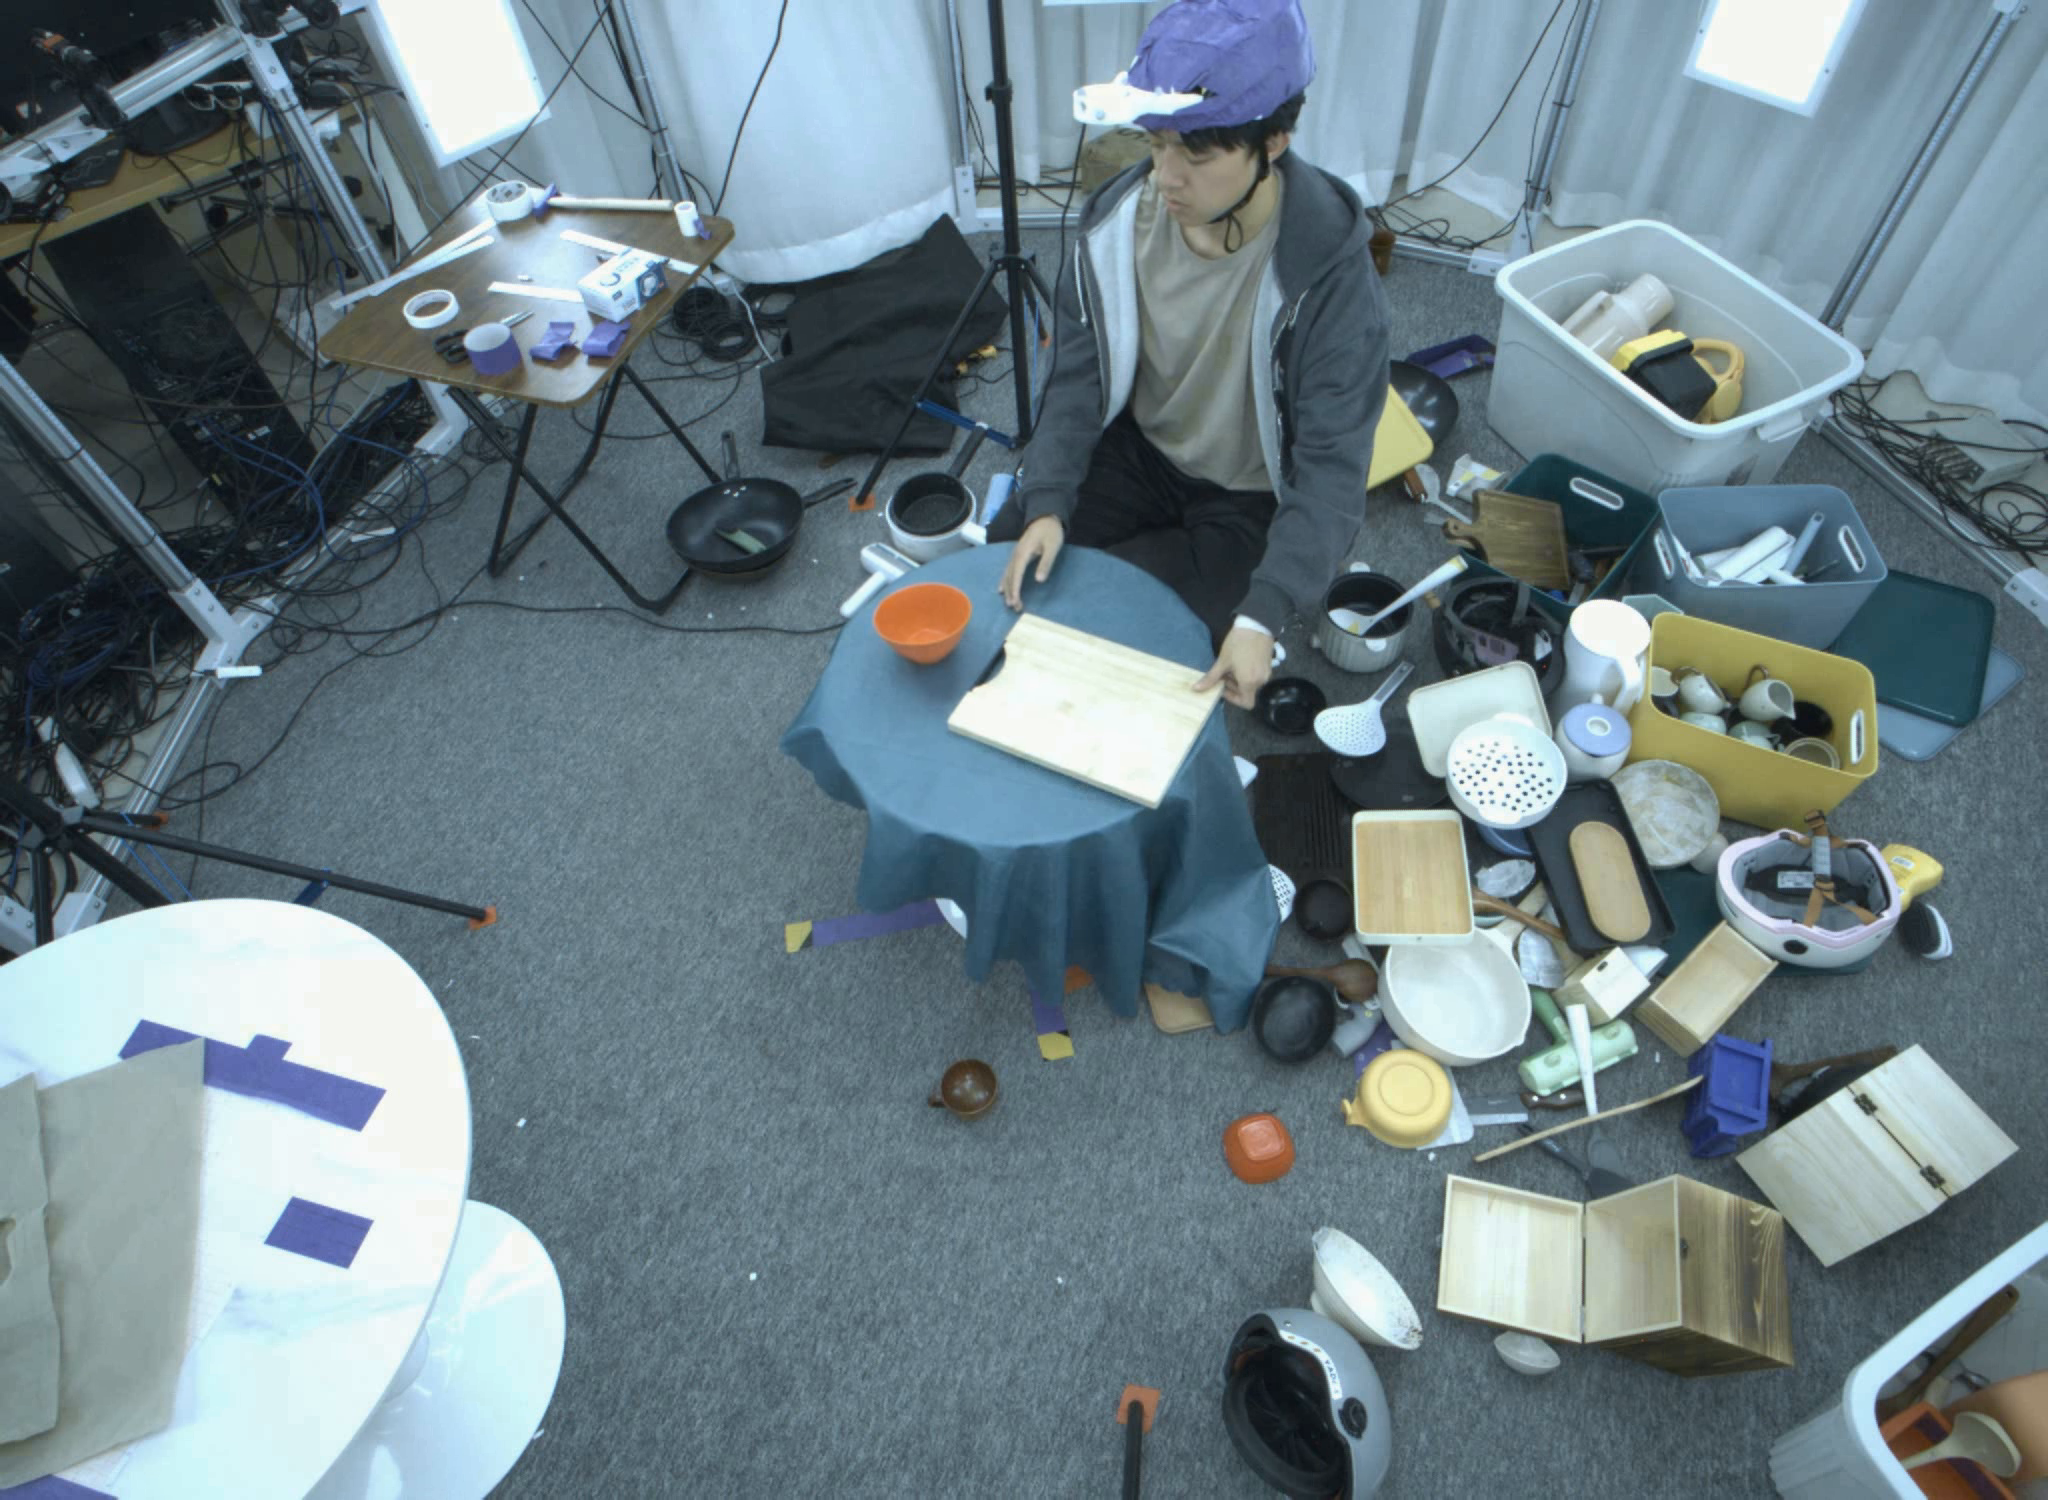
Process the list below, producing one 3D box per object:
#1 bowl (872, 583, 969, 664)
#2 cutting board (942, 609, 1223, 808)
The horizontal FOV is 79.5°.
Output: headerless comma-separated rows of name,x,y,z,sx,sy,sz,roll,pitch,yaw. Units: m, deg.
bowl,-0.151,-0.179,1.860,0.148,0.106,0.146,-1,55,3
cutting board,0.086,-0.069,1.818,0.344,0.024,0.251,21,58,18
